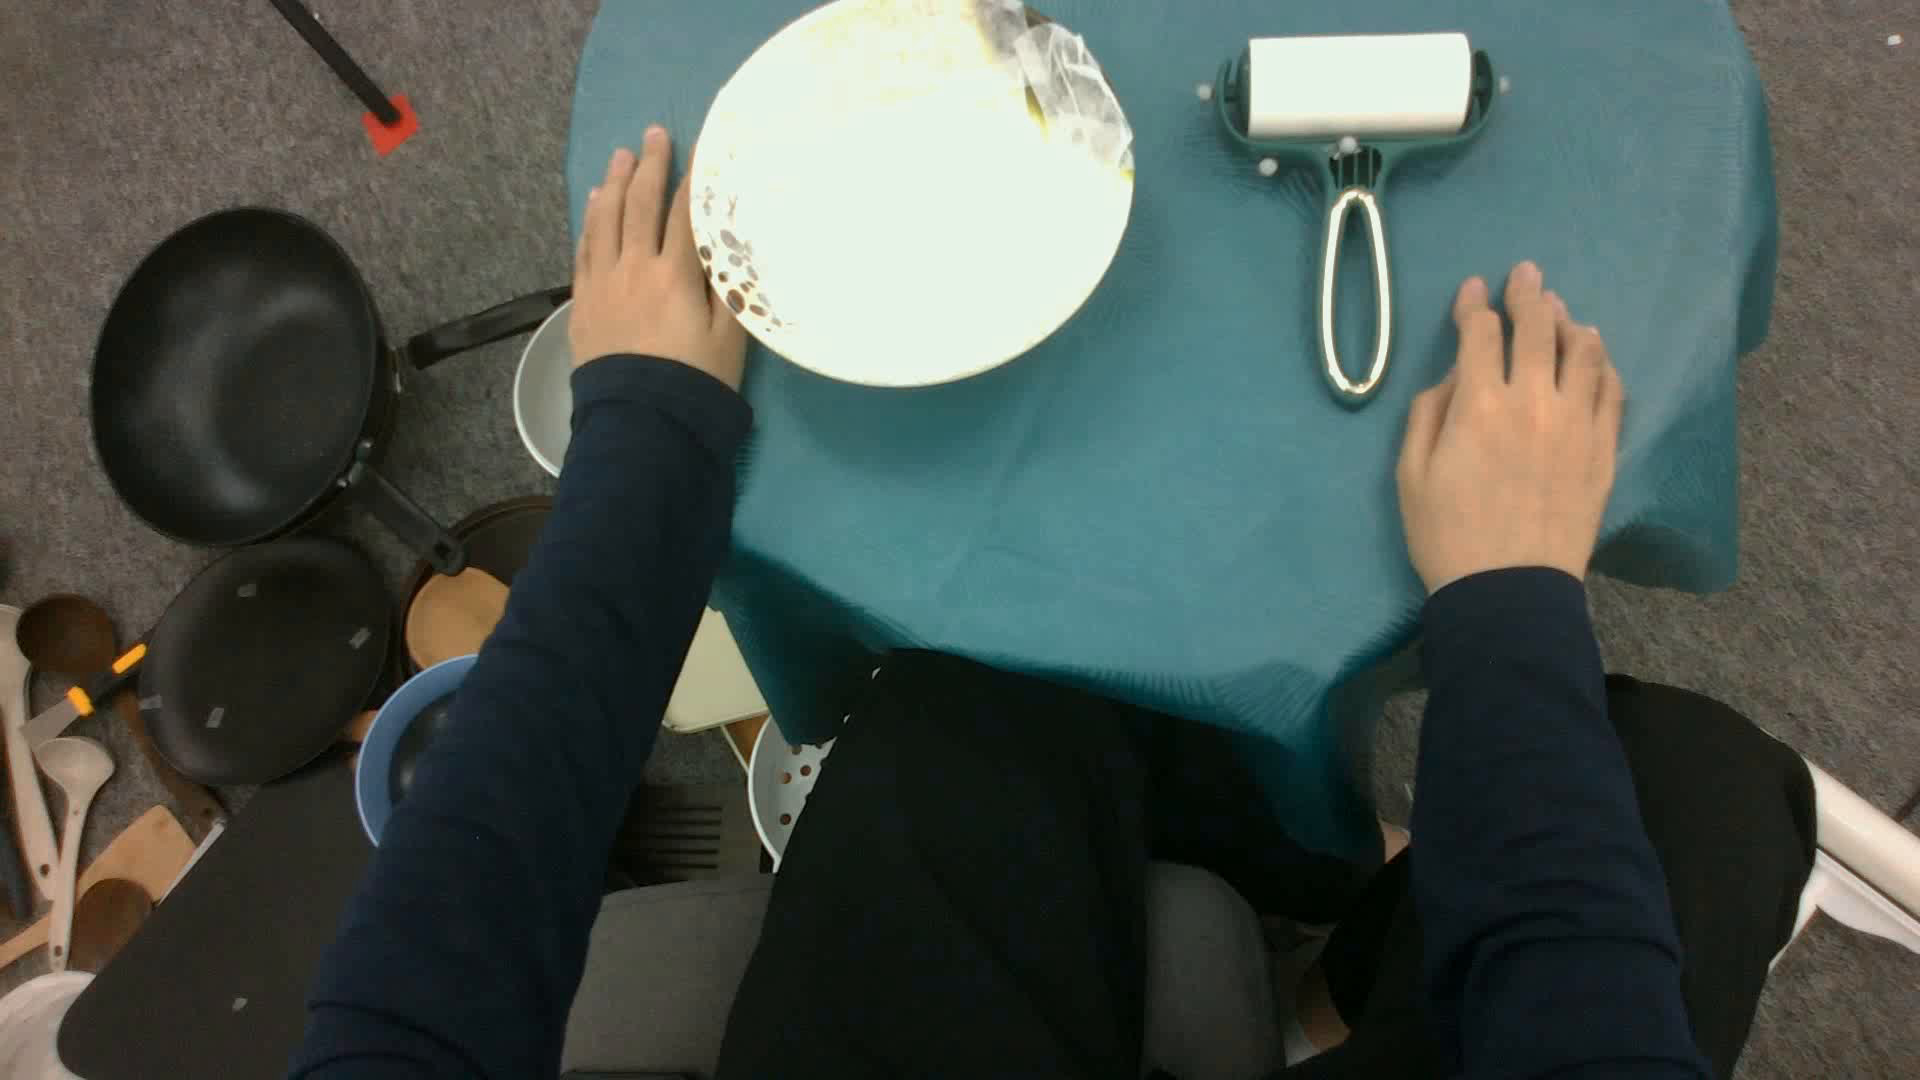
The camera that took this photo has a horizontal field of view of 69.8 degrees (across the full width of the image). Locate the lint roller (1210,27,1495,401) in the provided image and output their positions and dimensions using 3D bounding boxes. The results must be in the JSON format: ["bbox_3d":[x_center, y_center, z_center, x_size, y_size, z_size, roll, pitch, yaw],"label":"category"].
[{"bbox_3d":[0.186,-0.158,0.654,0.134,0.048,0.180,1,77,7],"label":"lint roller"}]

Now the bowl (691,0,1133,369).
[{"bbox_3d":[-0.019,-0.163,0.659,0.204,0.078,0.204,-2,74,7],"label":"bowl"}]
